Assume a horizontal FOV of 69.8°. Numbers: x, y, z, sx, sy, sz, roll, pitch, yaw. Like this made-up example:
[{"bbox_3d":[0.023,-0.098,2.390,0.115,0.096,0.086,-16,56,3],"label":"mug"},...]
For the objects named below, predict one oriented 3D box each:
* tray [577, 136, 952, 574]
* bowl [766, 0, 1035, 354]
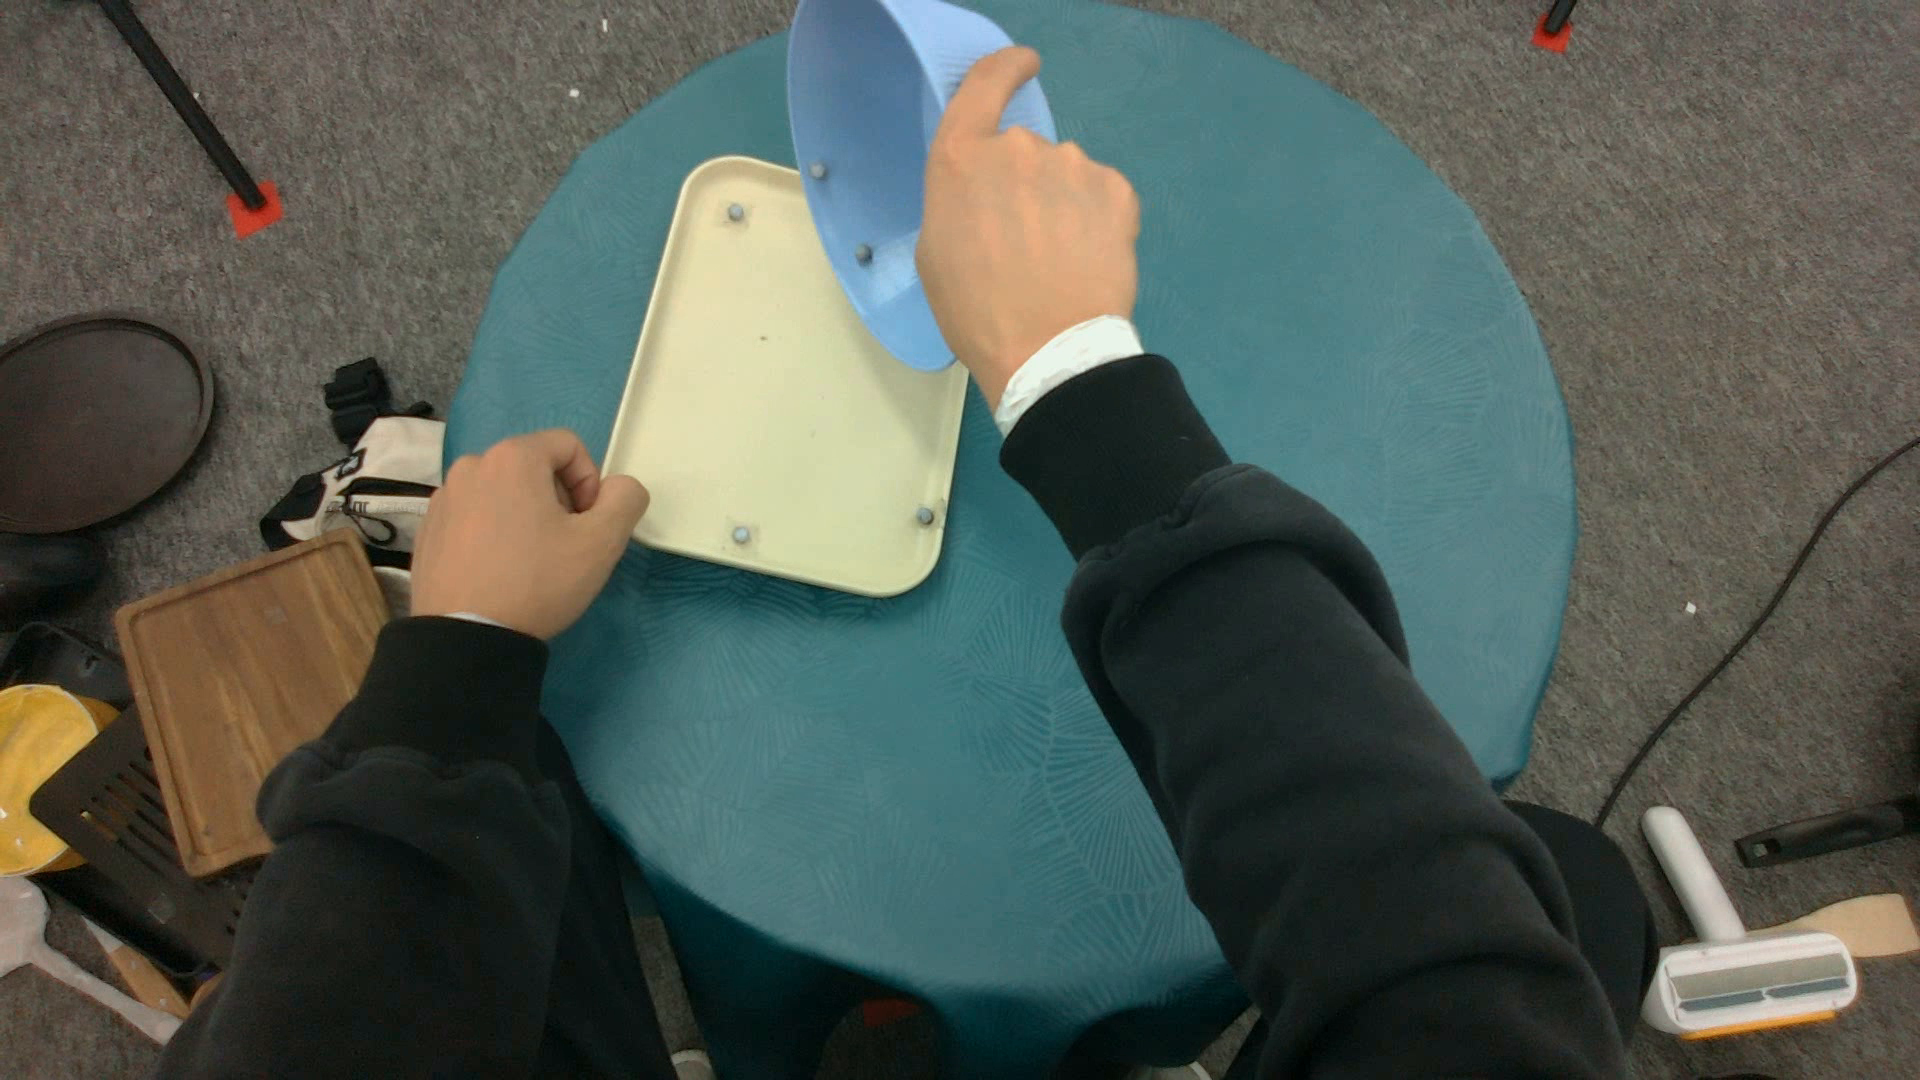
[{"bbox_3d":[-0.093,-0.100,0.719,0.171,0.017,0.240,12,64,-9],"label":"tray"},{"bbox_3d":[-0.022,-0.179,0.636,0.070,0.175,0.176,-23,69,-21],"label":"bowl"}]
